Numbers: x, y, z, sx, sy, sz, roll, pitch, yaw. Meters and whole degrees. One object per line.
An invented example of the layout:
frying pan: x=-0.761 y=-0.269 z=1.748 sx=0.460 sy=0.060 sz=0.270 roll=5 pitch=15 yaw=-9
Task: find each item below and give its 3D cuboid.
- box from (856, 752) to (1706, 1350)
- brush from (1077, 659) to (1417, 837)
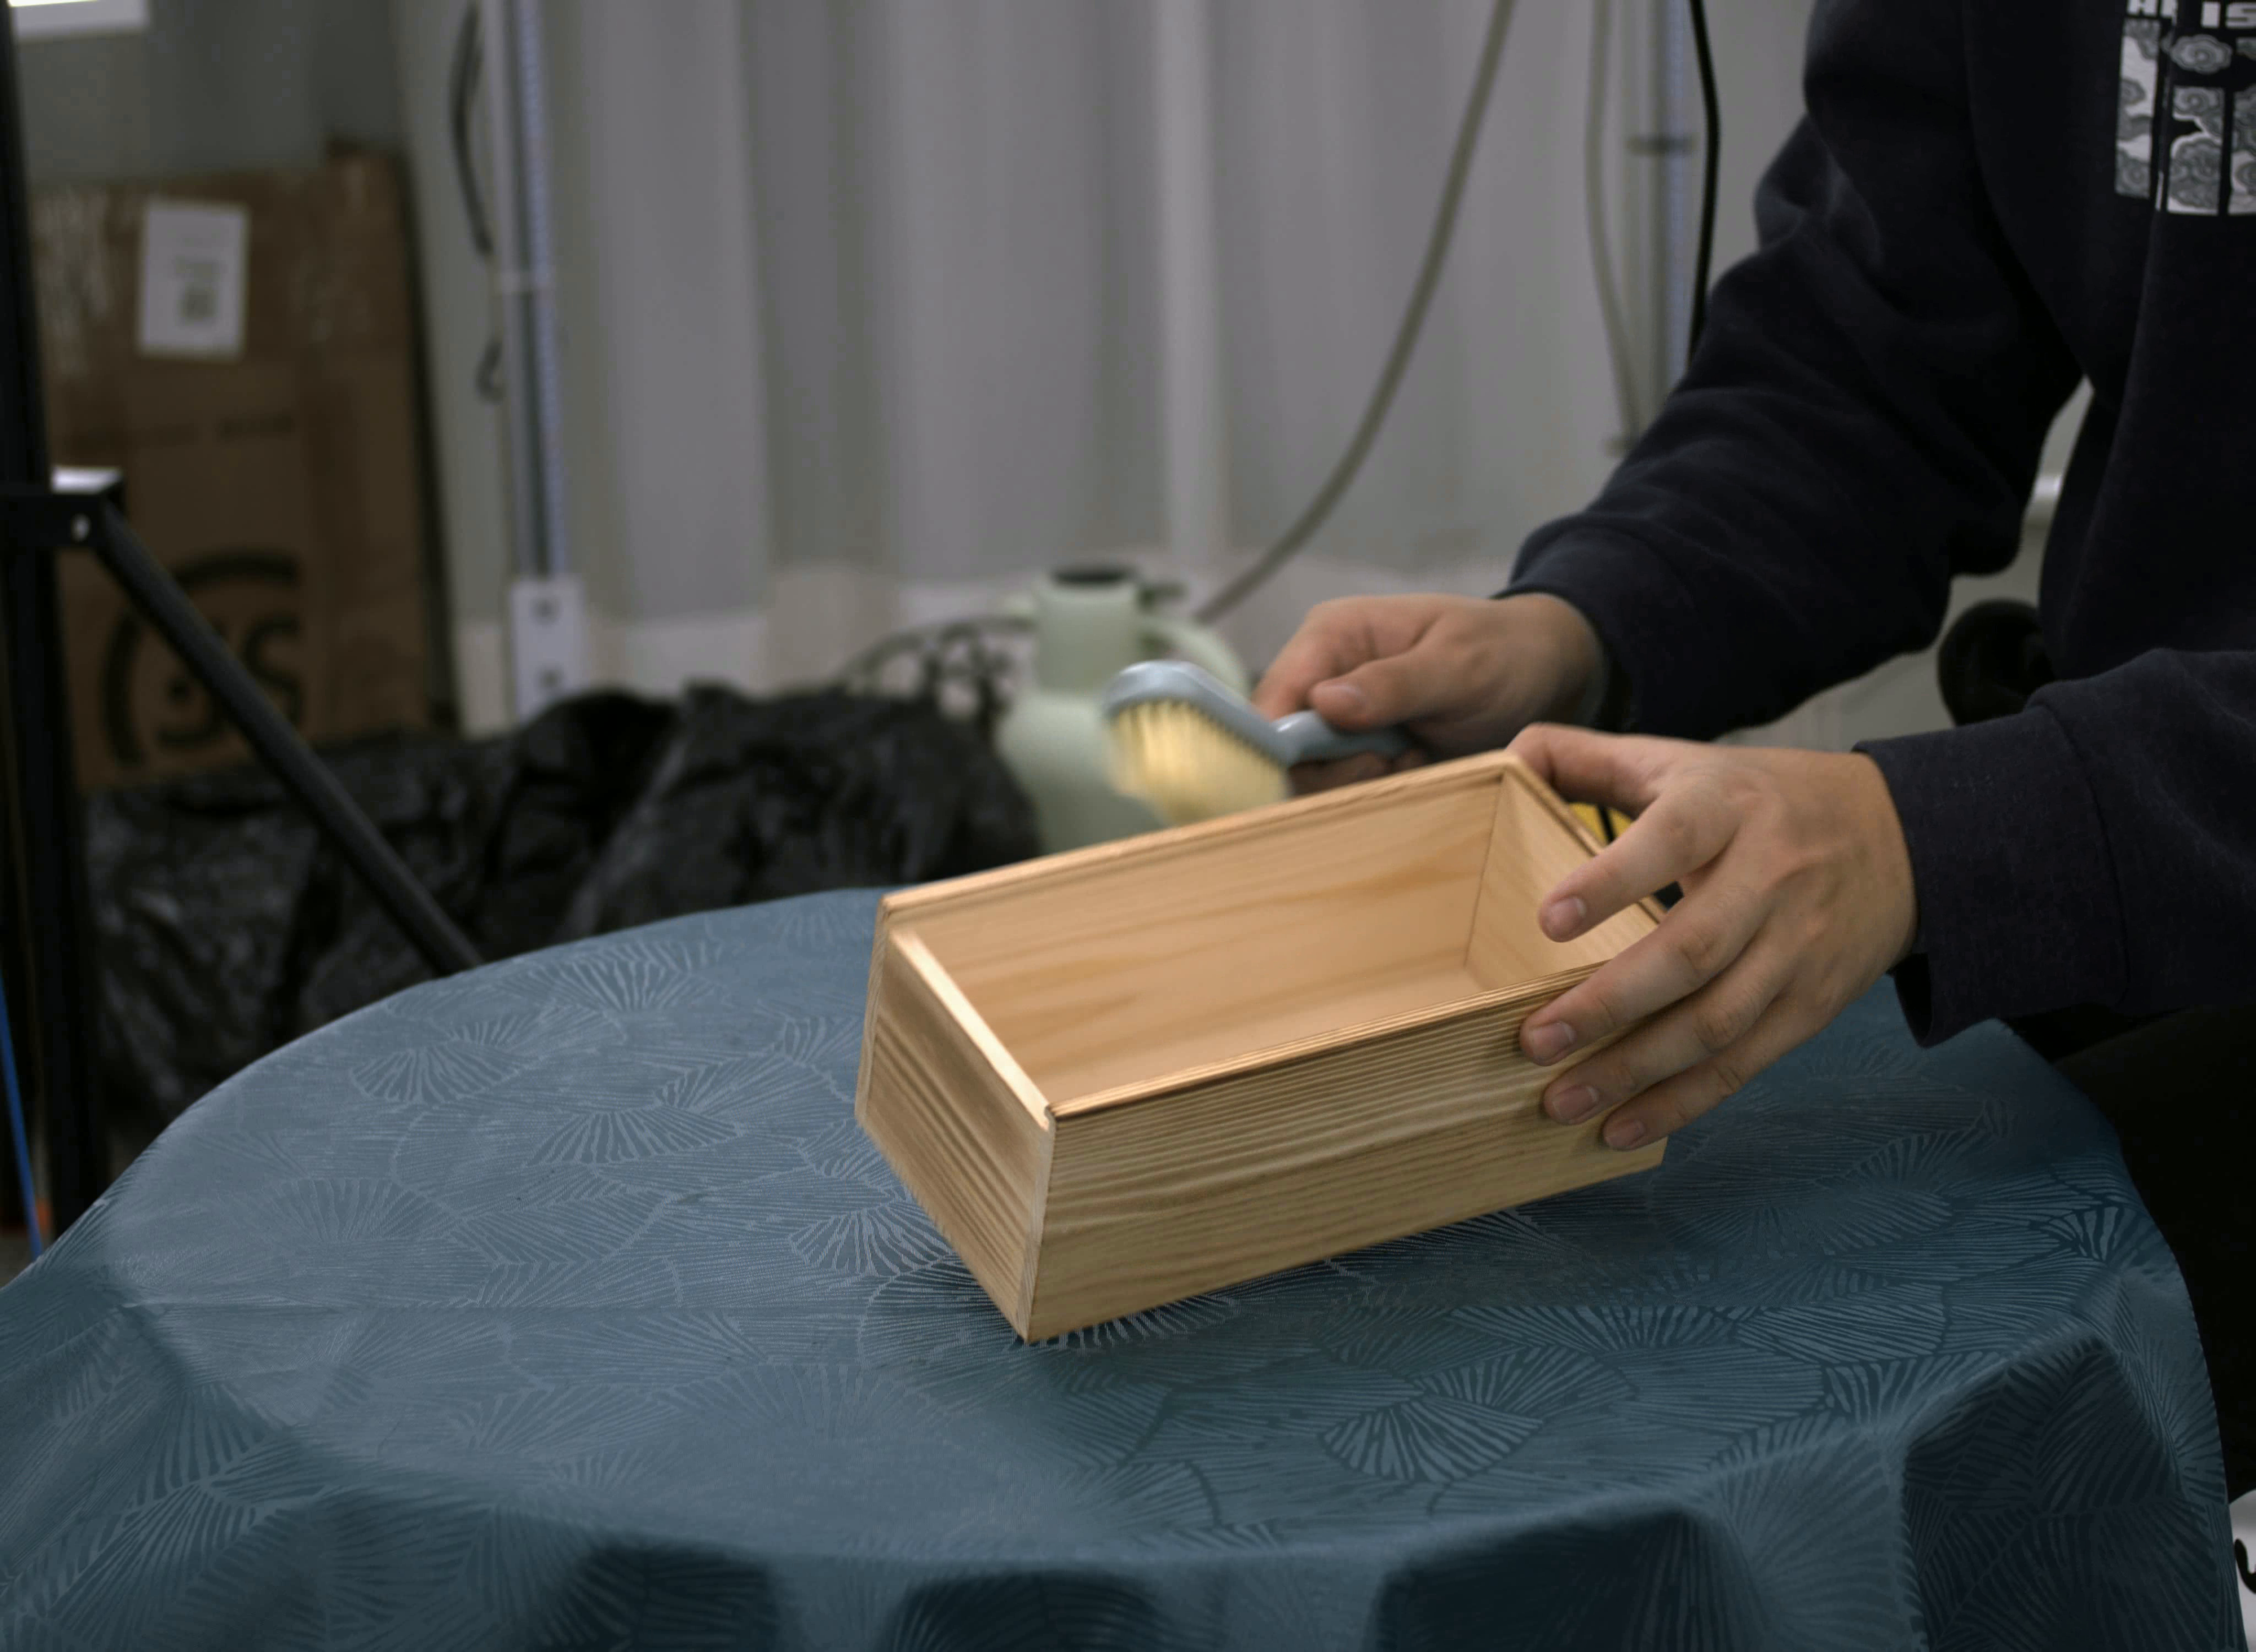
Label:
box: x=0.042 y=0.060 z=1.496 sx=0.207 sy=0.080 sz=0.110 roll=-14 pitch=39 yaw=-26
brush: x=0.044 y=-0.015 z=1.665 sx=0.038 sy=0.050 sz=0.224 roll=-20 pitch=-12 yaw=20
